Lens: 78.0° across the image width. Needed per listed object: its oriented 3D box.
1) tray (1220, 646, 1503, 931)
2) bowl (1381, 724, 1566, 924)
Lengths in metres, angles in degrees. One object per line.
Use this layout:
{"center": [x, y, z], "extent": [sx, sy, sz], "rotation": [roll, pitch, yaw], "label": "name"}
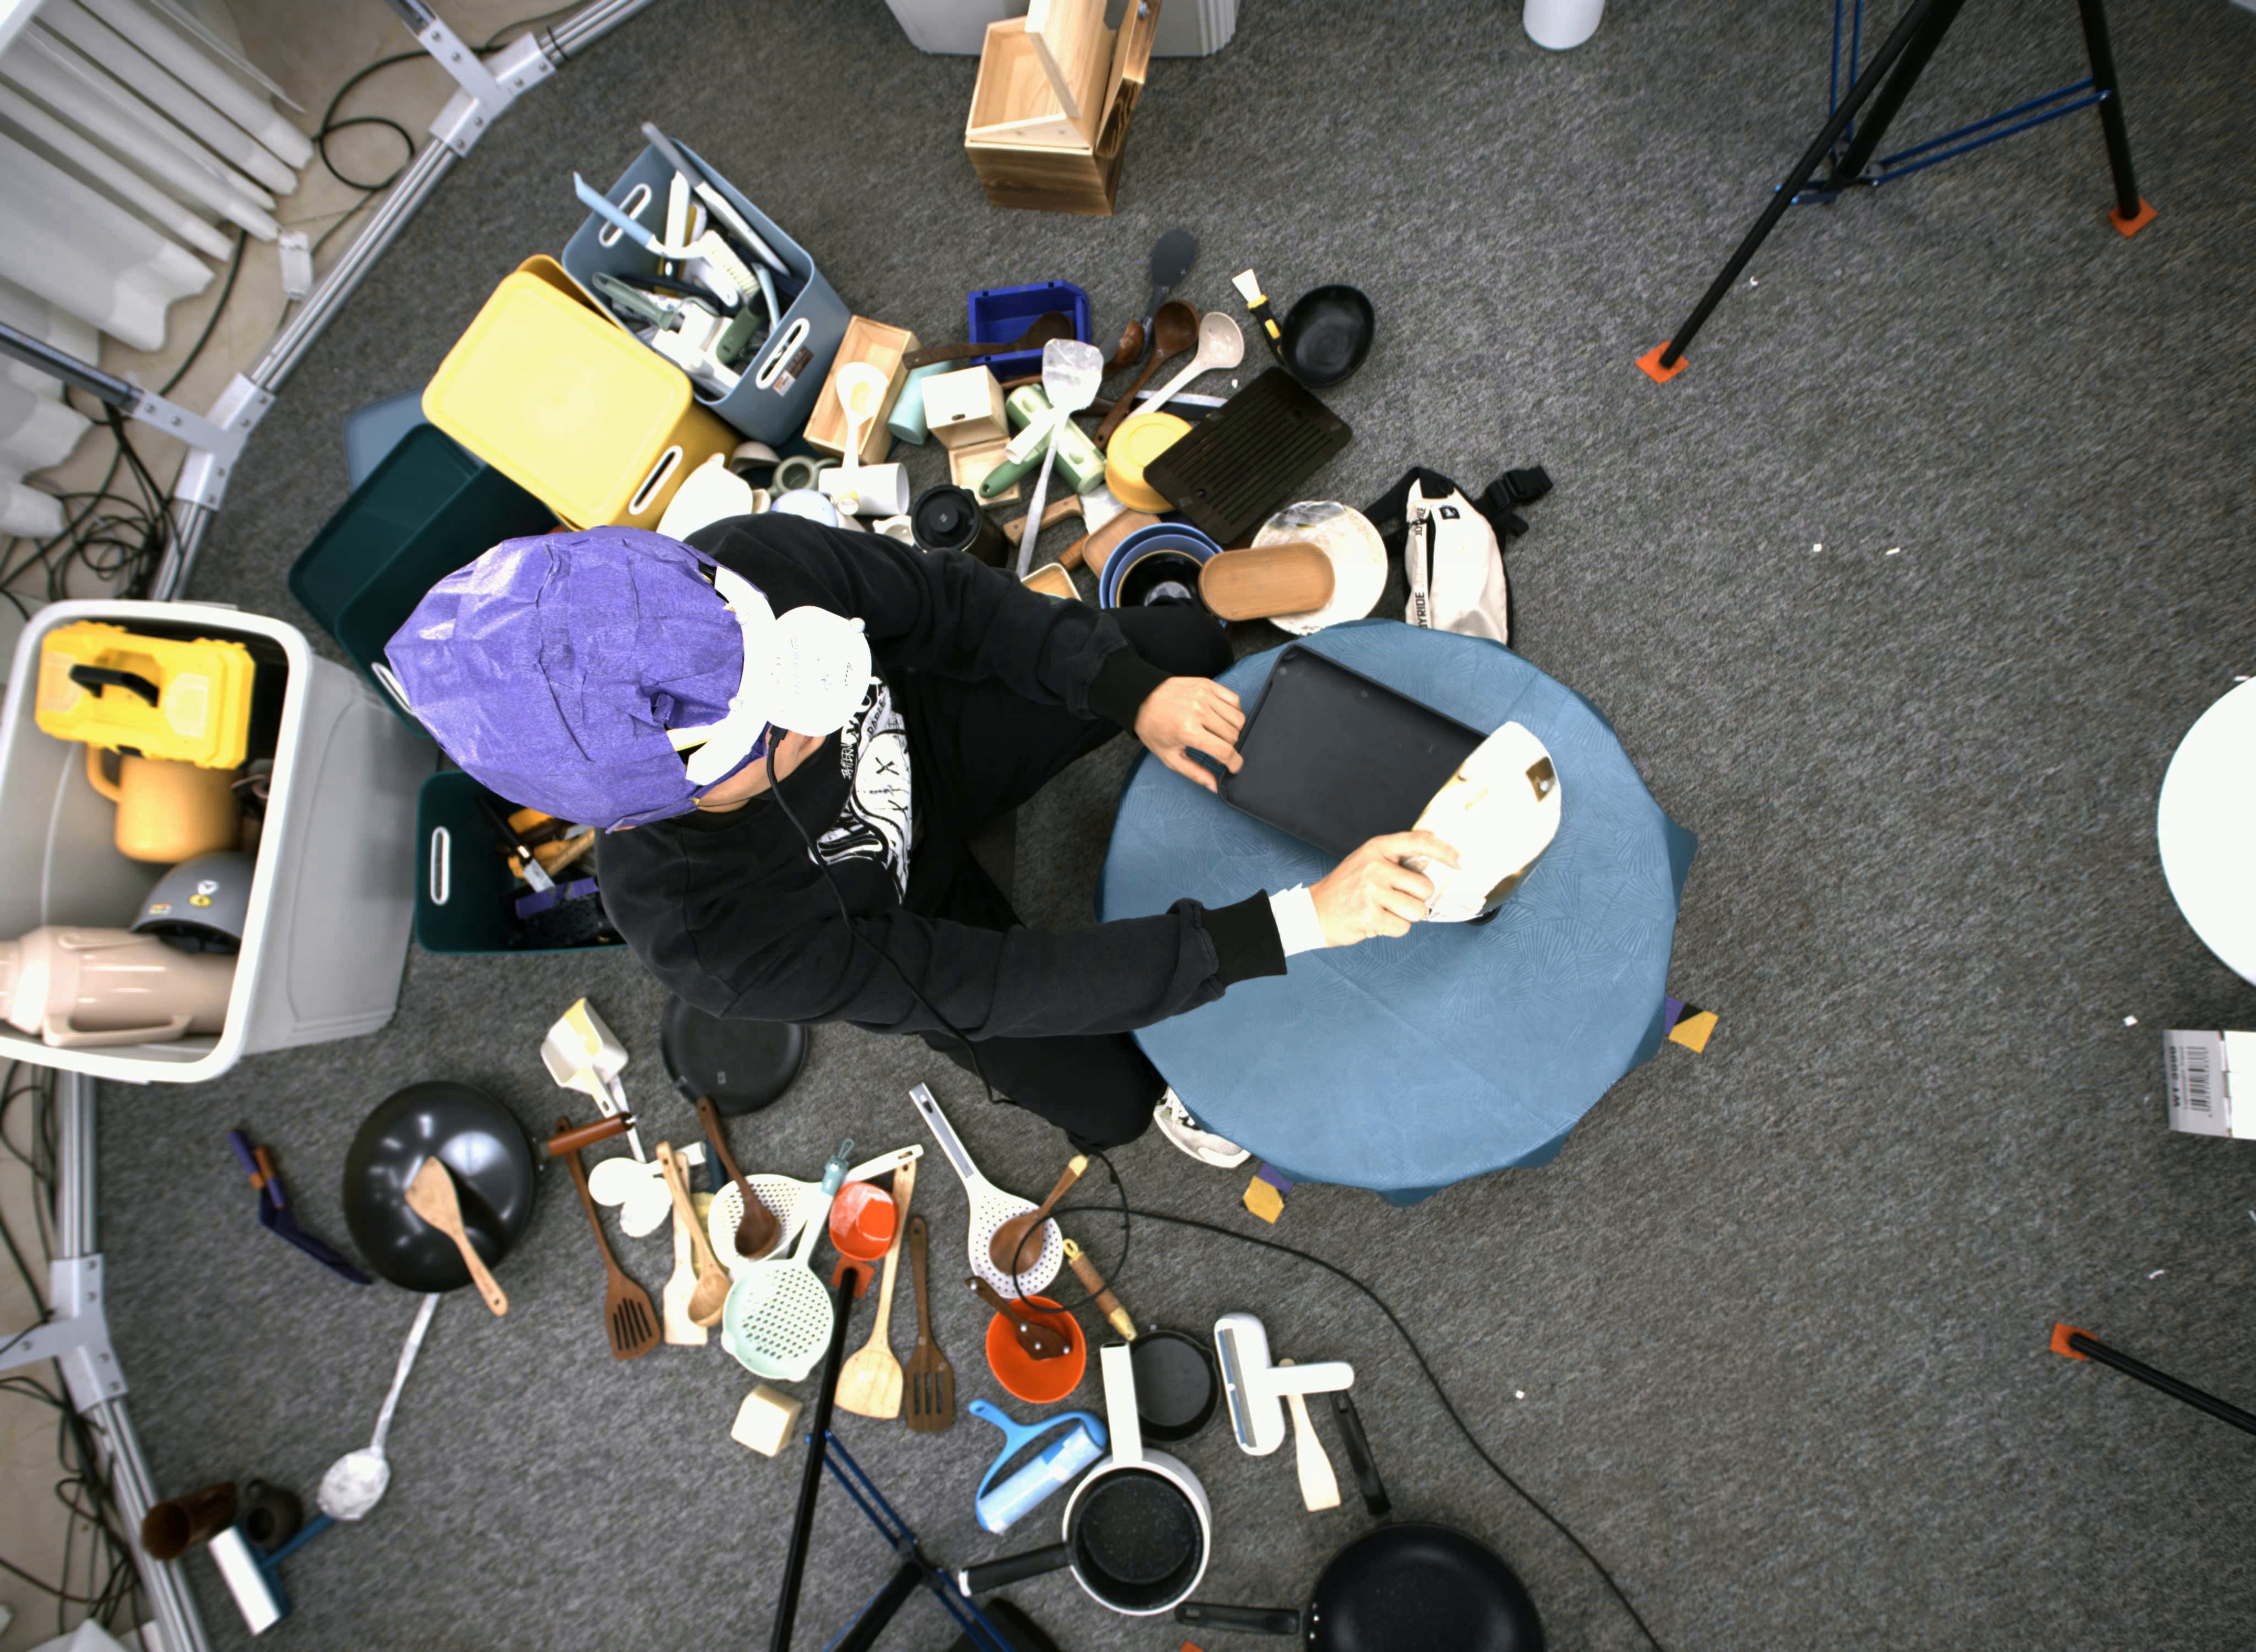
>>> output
{"center": [0.268, -0.039, 1.427], "extent": [0.318, 0.037, 0.184], "rotation": [28, 90, -1], "label": "tray"}
{"center": [0.327, 0.016, 1.243], "extent": [0.094, 0.216, 0.215], "rotation": [41, 92, 18], "label": "bowl"}
